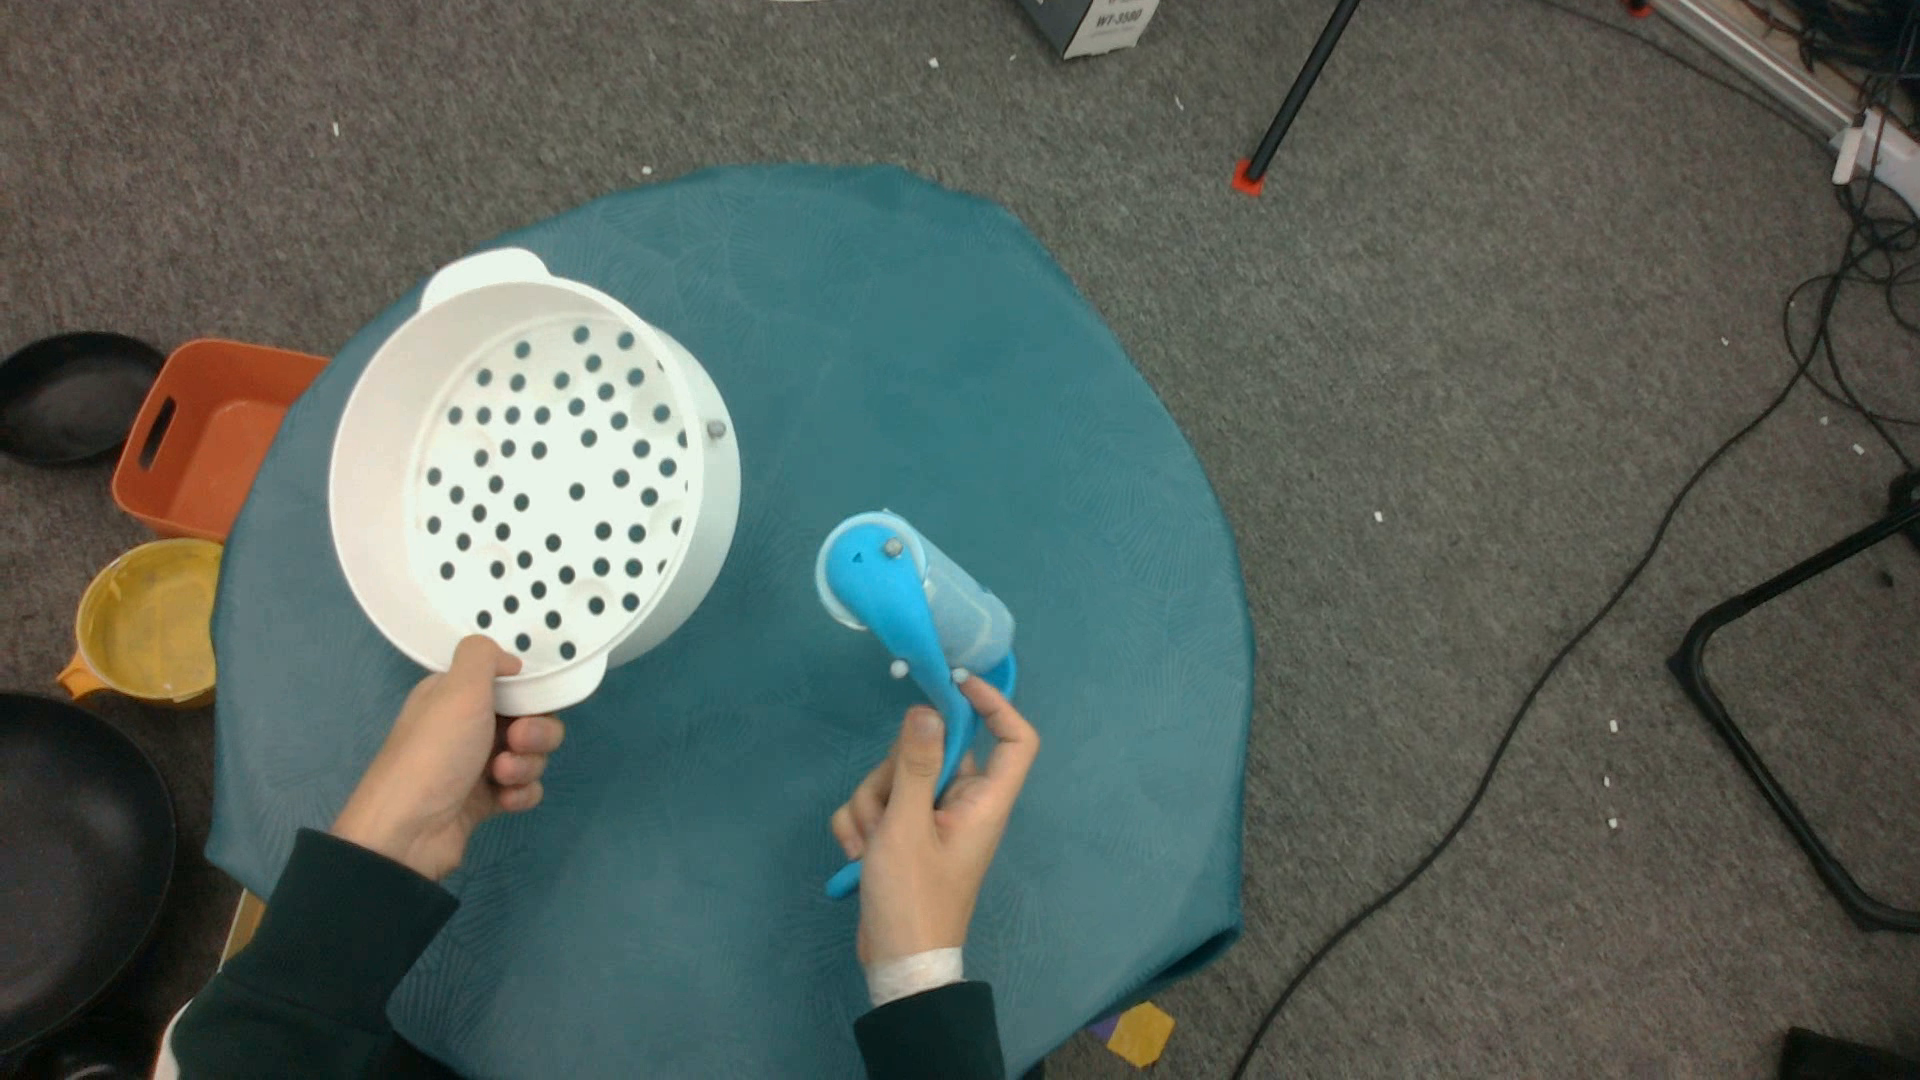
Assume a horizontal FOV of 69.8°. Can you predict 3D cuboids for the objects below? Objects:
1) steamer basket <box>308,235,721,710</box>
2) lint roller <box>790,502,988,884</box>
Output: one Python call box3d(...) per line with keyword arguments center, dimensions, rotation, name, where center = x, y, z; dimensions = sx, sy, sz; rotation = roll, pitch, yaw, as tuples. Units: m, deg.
box3d(center=(-0.220, -0.033, 0.686), dimensions=(0.201, 0.069, 0.231), rotation=(-15, 83, 14), name="steamer basket")
box3d(center=(-0.035, 0.083, 0.691), dimensions=(0.068, 0.229, 0.180), rotation=(3, 84, 10), name="lint roller")
